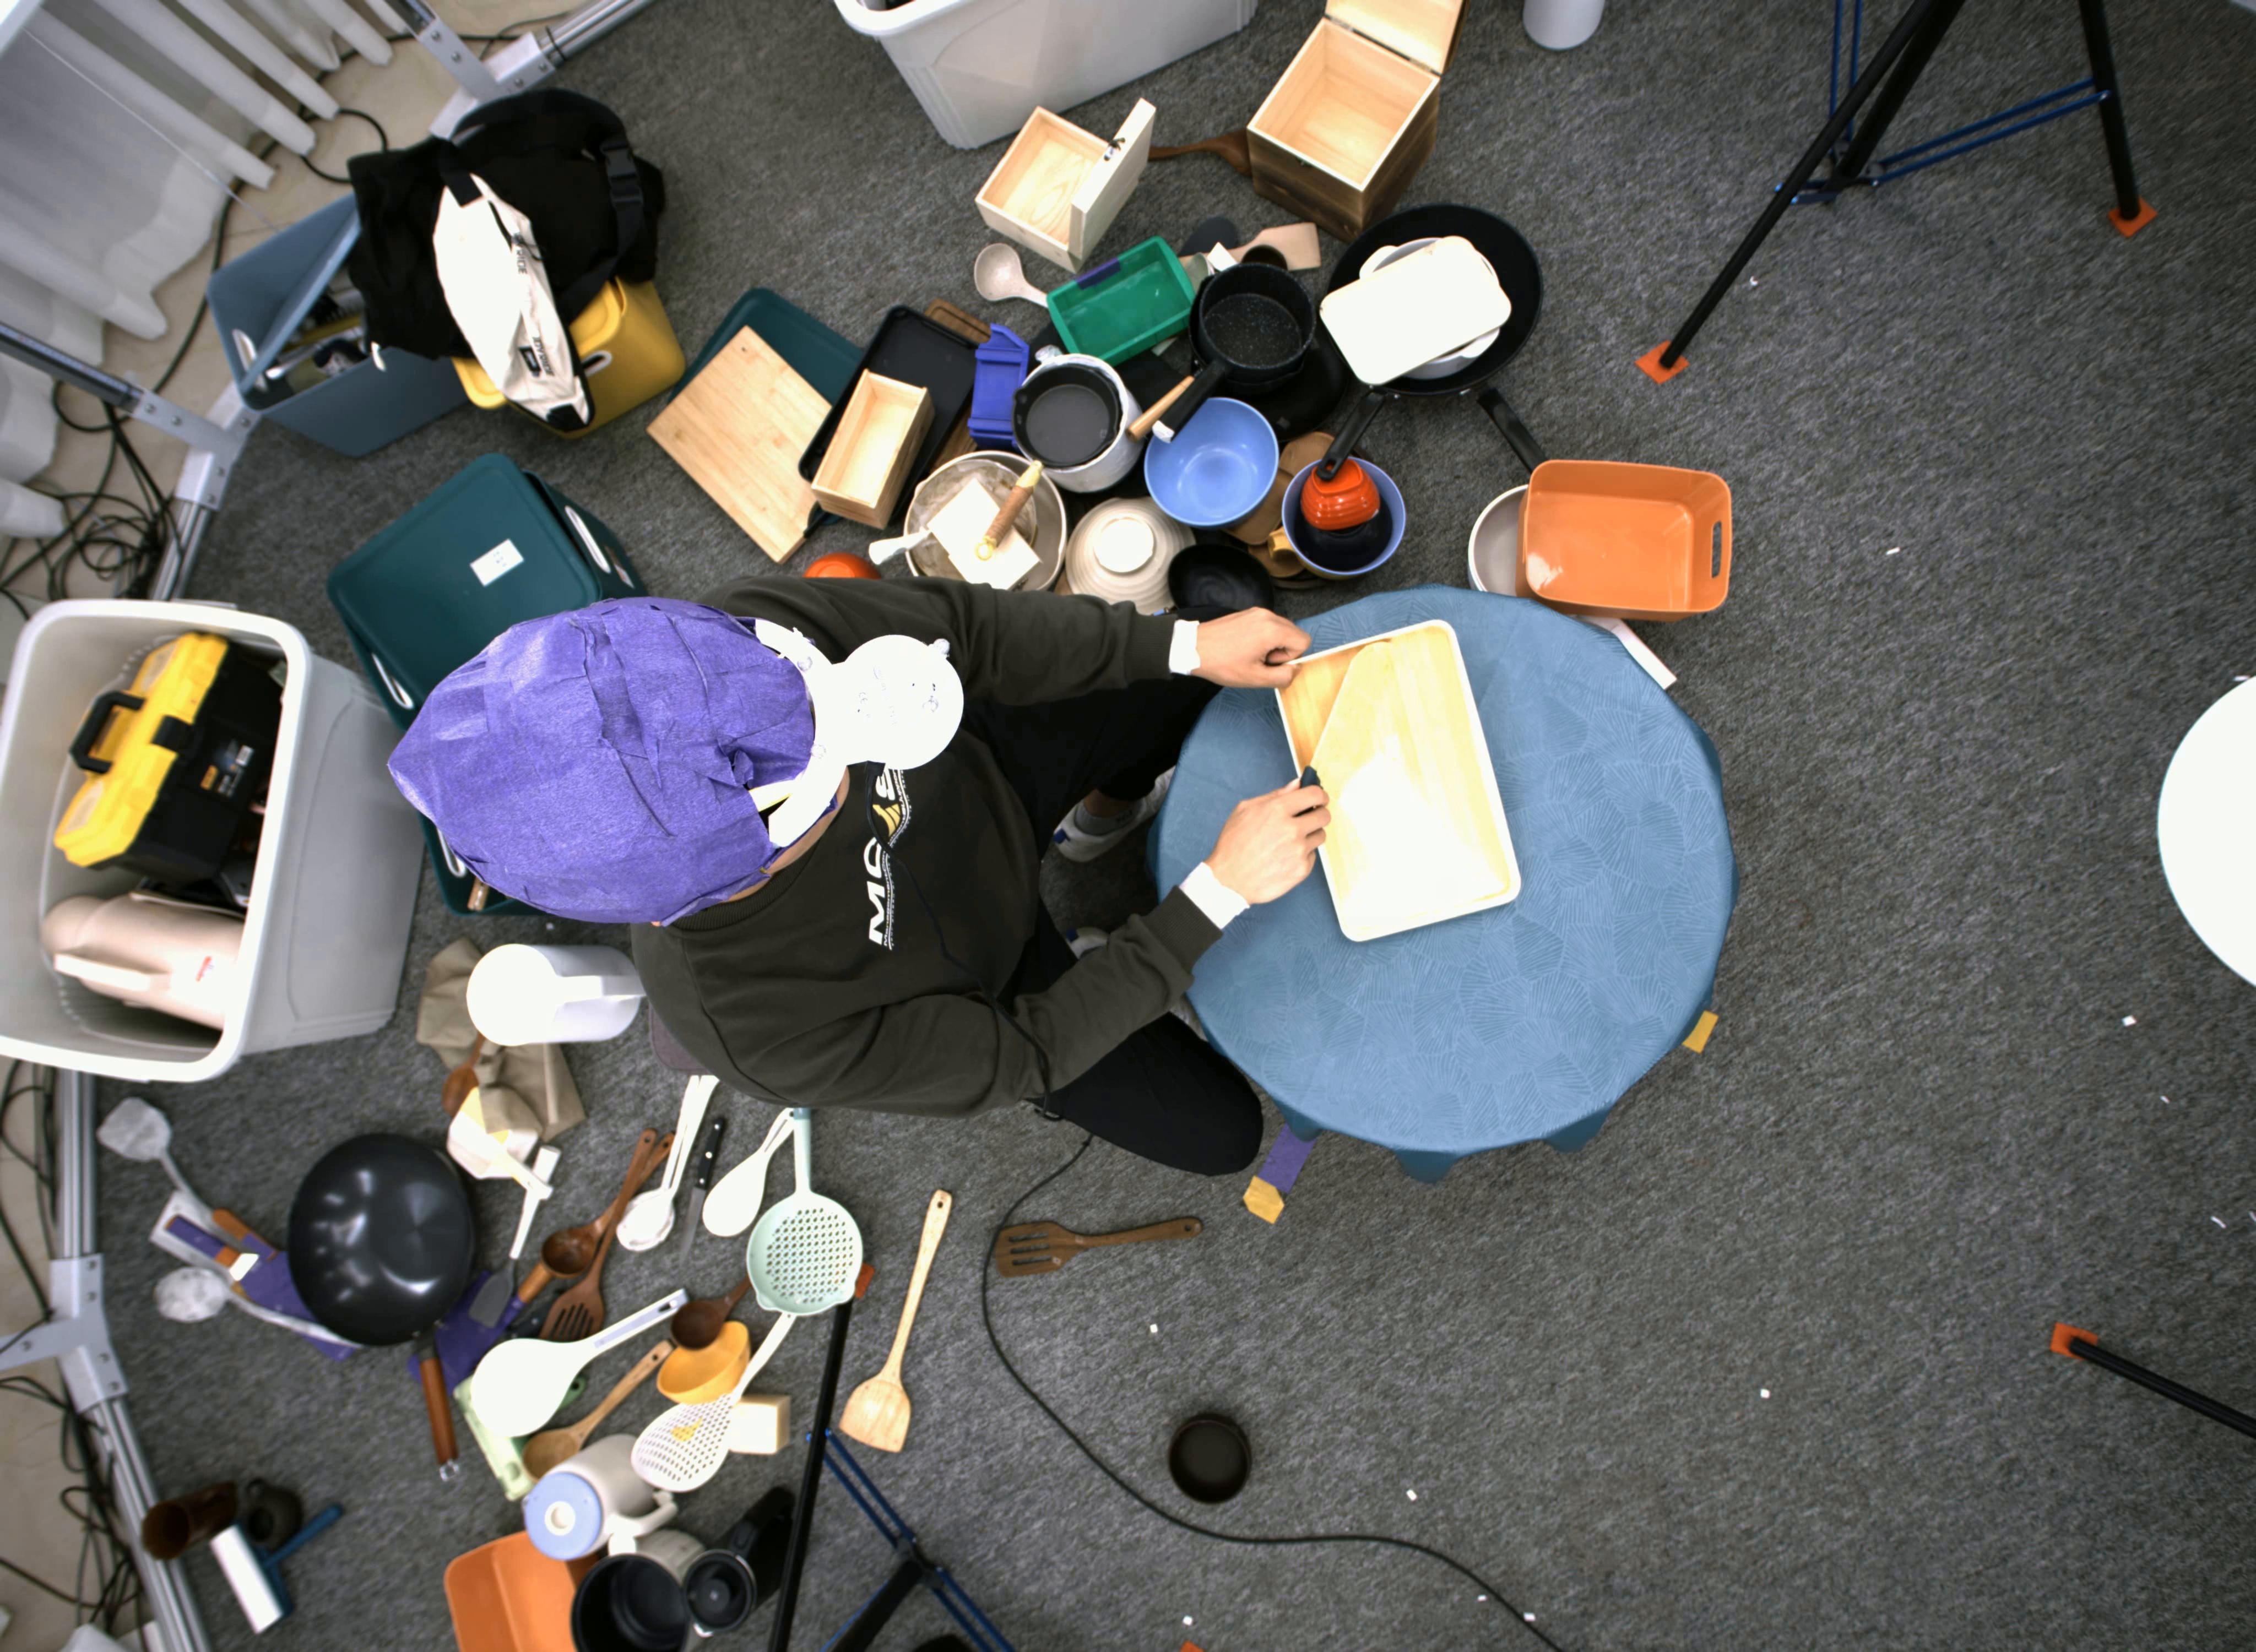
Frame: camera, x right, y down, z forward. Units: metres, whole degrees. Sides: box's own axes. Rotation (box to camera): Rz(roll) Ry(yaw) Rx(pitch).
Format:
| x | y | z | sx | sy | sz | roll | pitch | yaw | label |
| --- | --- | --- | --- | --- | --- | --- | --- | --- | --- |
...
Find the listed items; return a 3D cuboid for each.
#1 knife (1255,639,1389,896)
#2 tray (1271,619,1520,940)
| x | y | z | sx | sy | sz | roll | pitch | yaw | label |
| --- | --- | --- | --- | --- | --- | --- | --- | --- | --- |
| 0.198 | -0.059 | 1.372 | 0.027 | 0.081 | 0.288 | 23 | 86 | 42 | knife |
| 0.275 | -0.047 | 1.417 | 0.193 | 0.027 | 0.302 | -15 | 98 | 10 | tray |
